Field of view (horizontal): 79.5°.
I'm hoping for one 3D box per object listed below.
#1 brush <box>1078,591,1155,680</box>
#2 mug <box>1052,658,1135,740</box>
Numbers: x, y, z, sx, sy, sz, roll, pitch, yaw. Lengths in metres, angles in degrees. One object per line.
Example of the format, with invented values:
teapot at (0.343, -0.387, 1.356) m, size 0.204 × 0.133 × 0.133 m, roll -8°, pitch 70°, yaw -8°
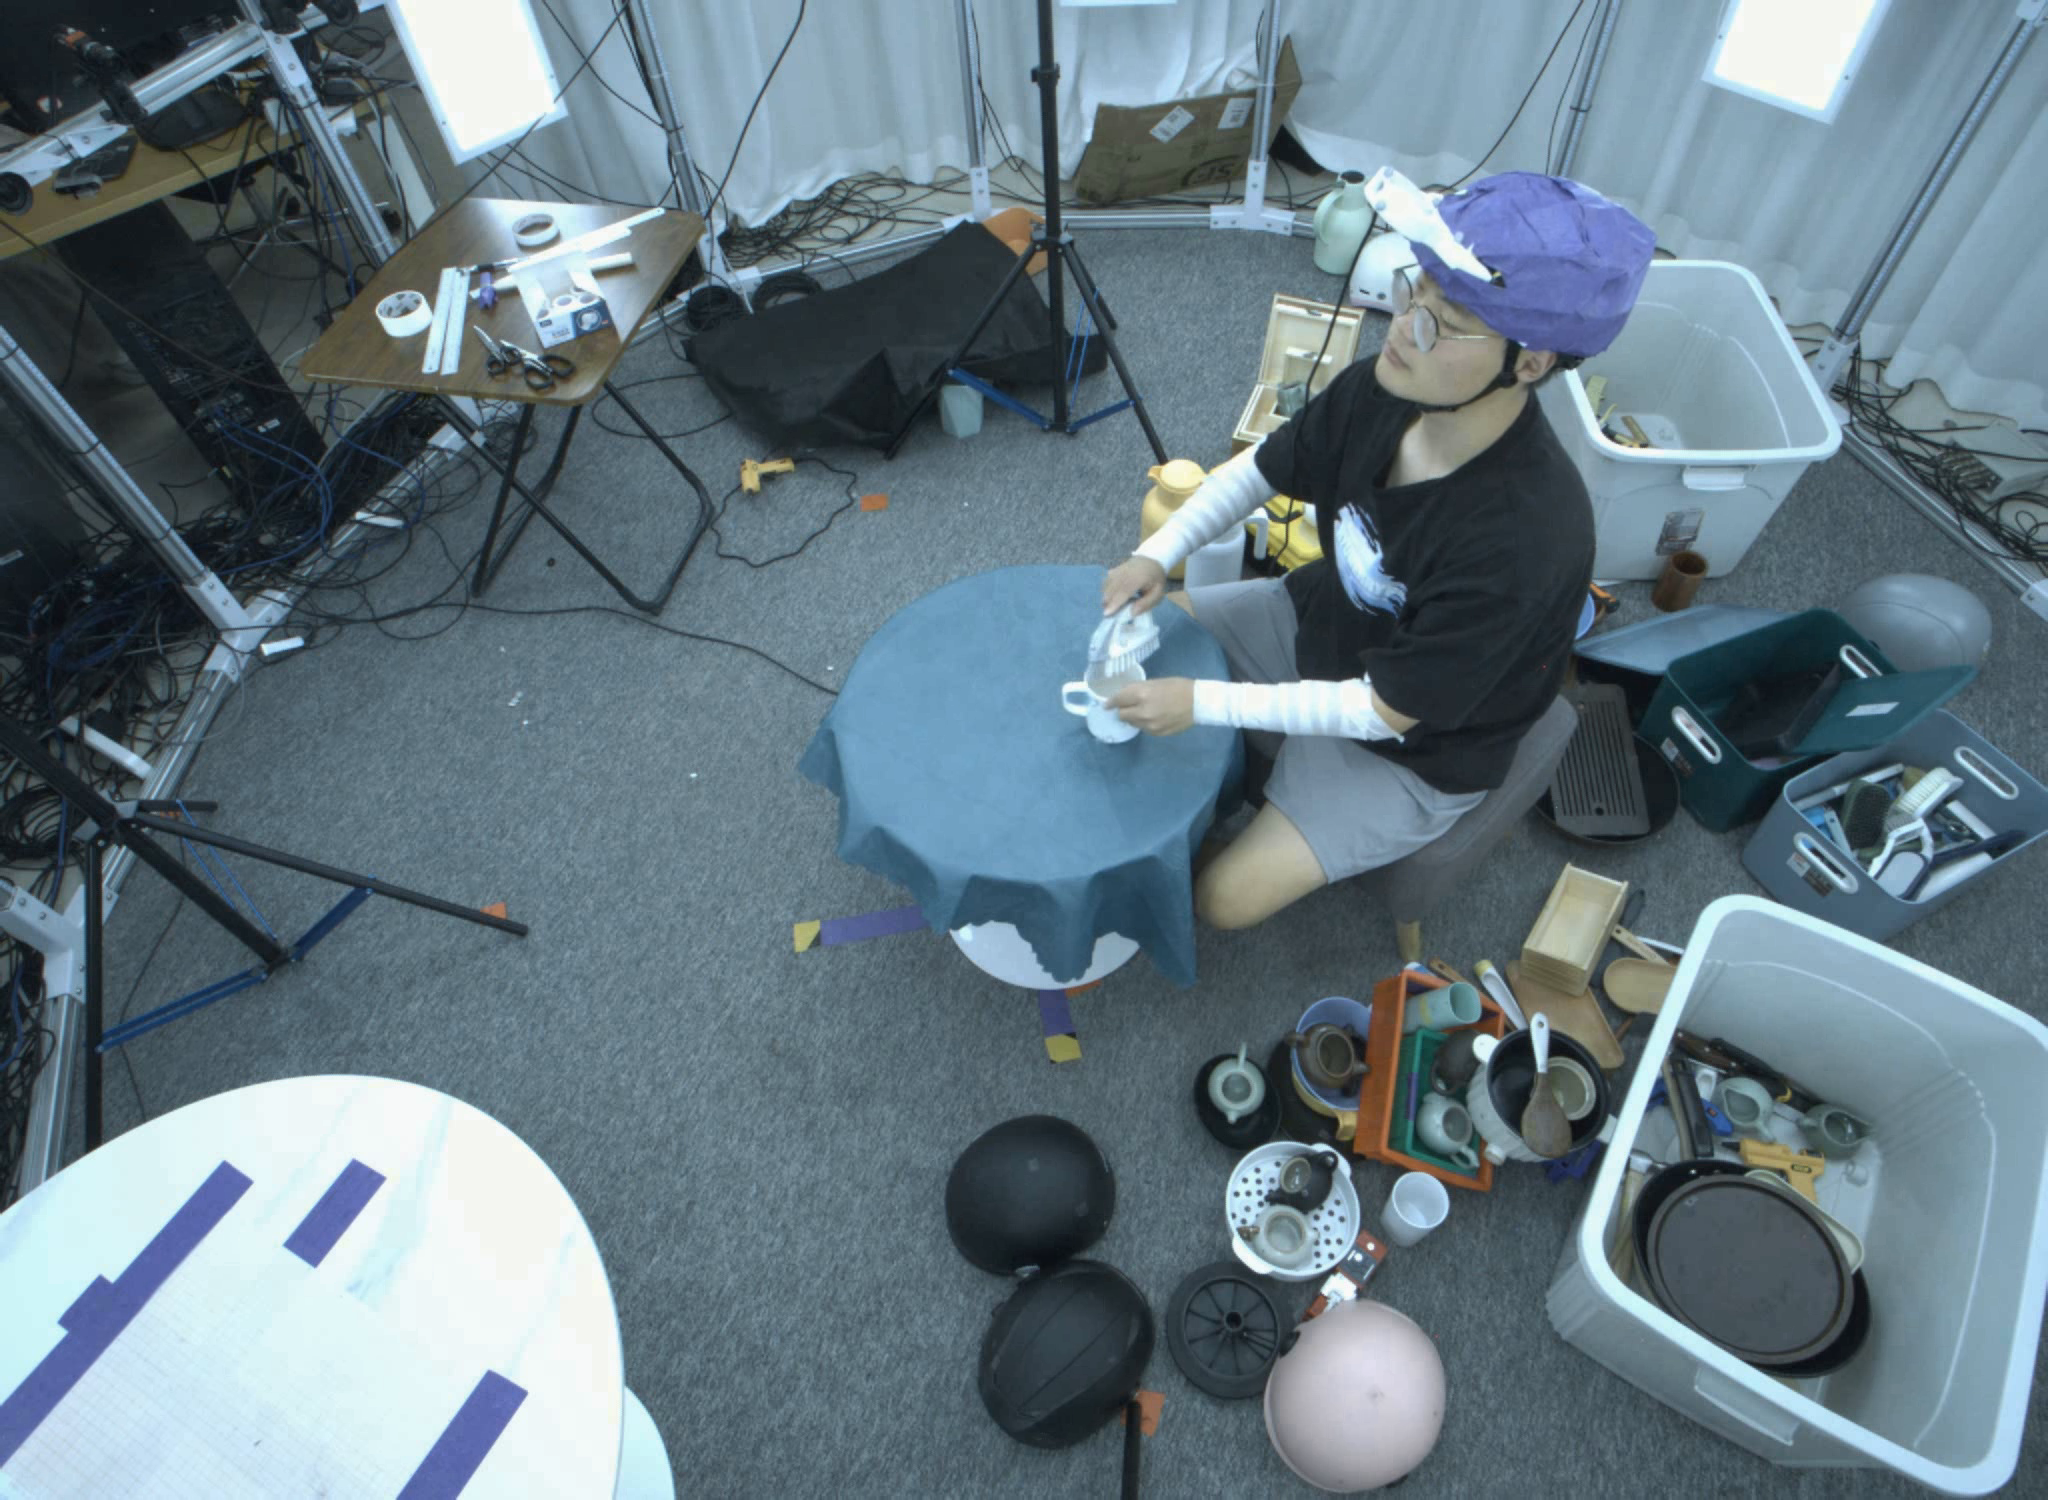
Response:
brush at (0.121, -0.167, 1.733) m, size 0.060 × 0.095 × 0.177 m, roll 9°, pitch 29°, yaw 32°
mug at (0.100, -0.075, 1.765) m, size 0.118 × 0.103 × 0.084 m, roll -3°, pitch 54°, yaw 2°
